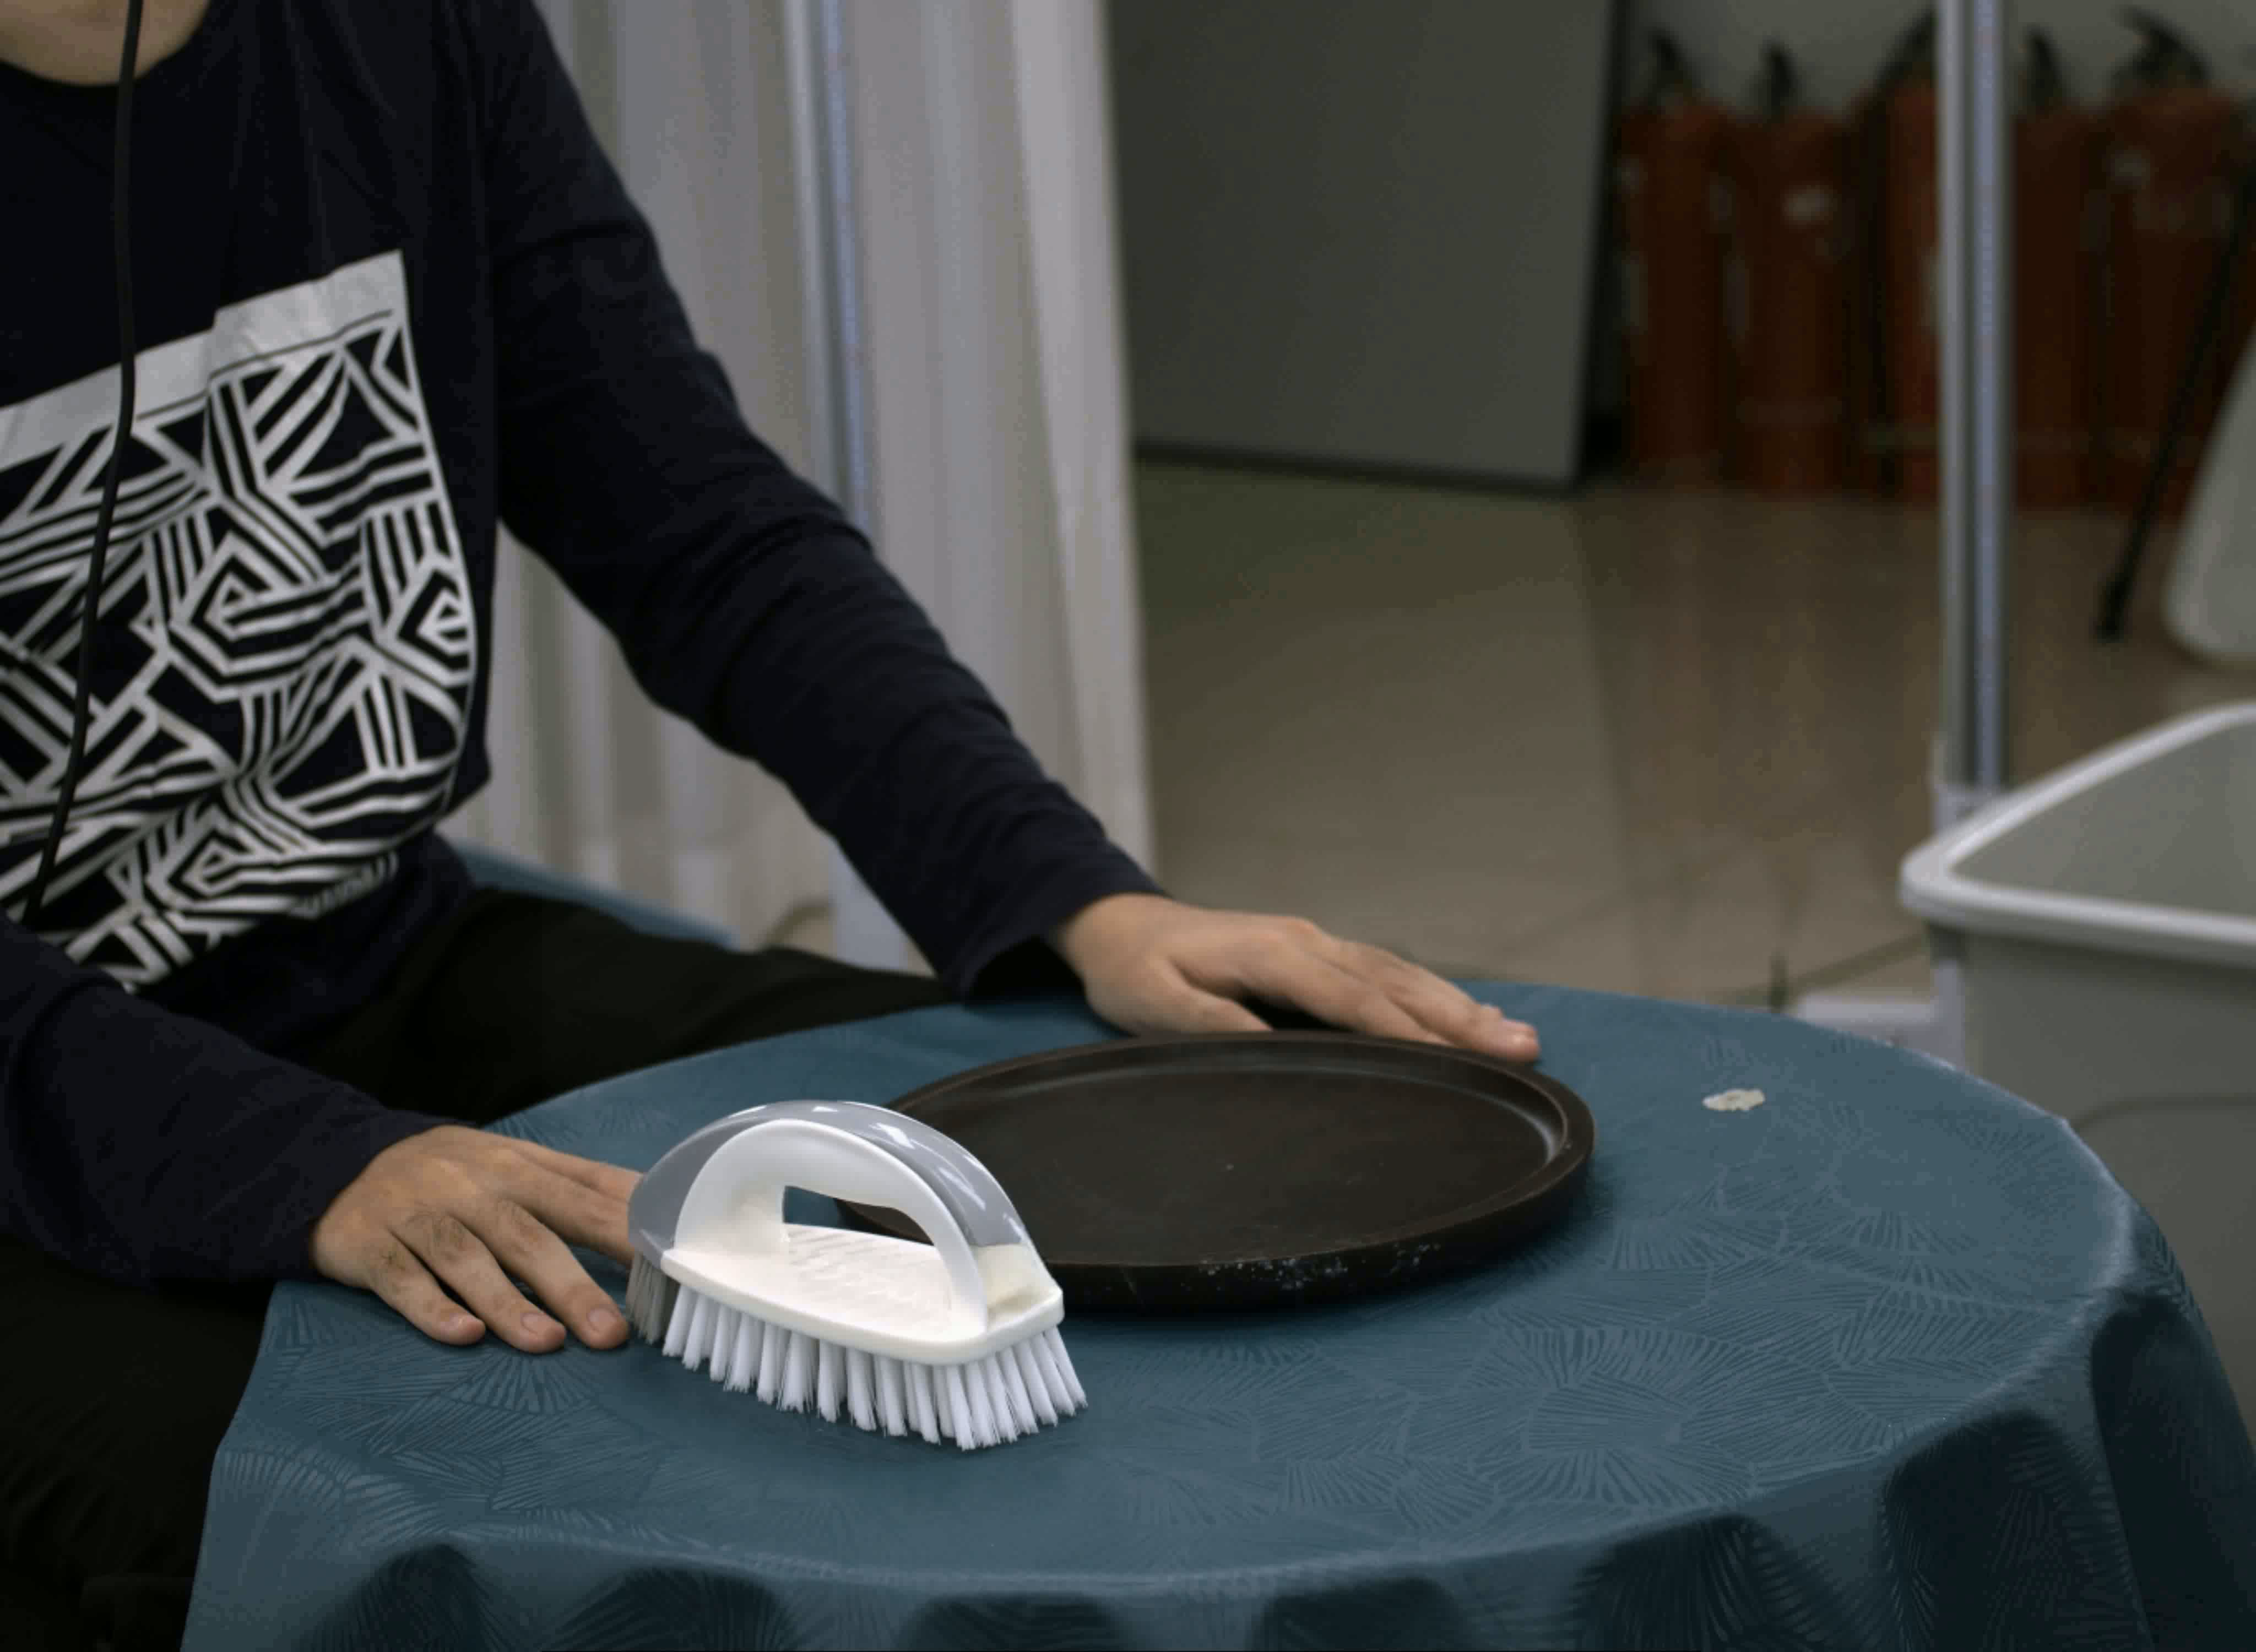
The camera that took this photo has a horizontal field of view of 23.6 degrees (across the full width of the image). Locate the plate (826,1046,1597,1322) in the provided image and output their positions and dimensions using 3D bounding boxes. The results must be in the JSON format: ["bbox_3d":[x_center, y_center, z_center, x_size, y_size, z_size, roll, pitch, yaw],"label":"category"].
[{"bbox_3d":[0.027,0.113,1.754,0.251,0.029,0.255,-3,14,0],"label":"plate"}]

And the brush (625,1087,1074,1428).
[{"bbox_3d":[-0.094,0.123,1.602,0.060,0.095,0.177,-15,15,-43],"label":"brush"}]
